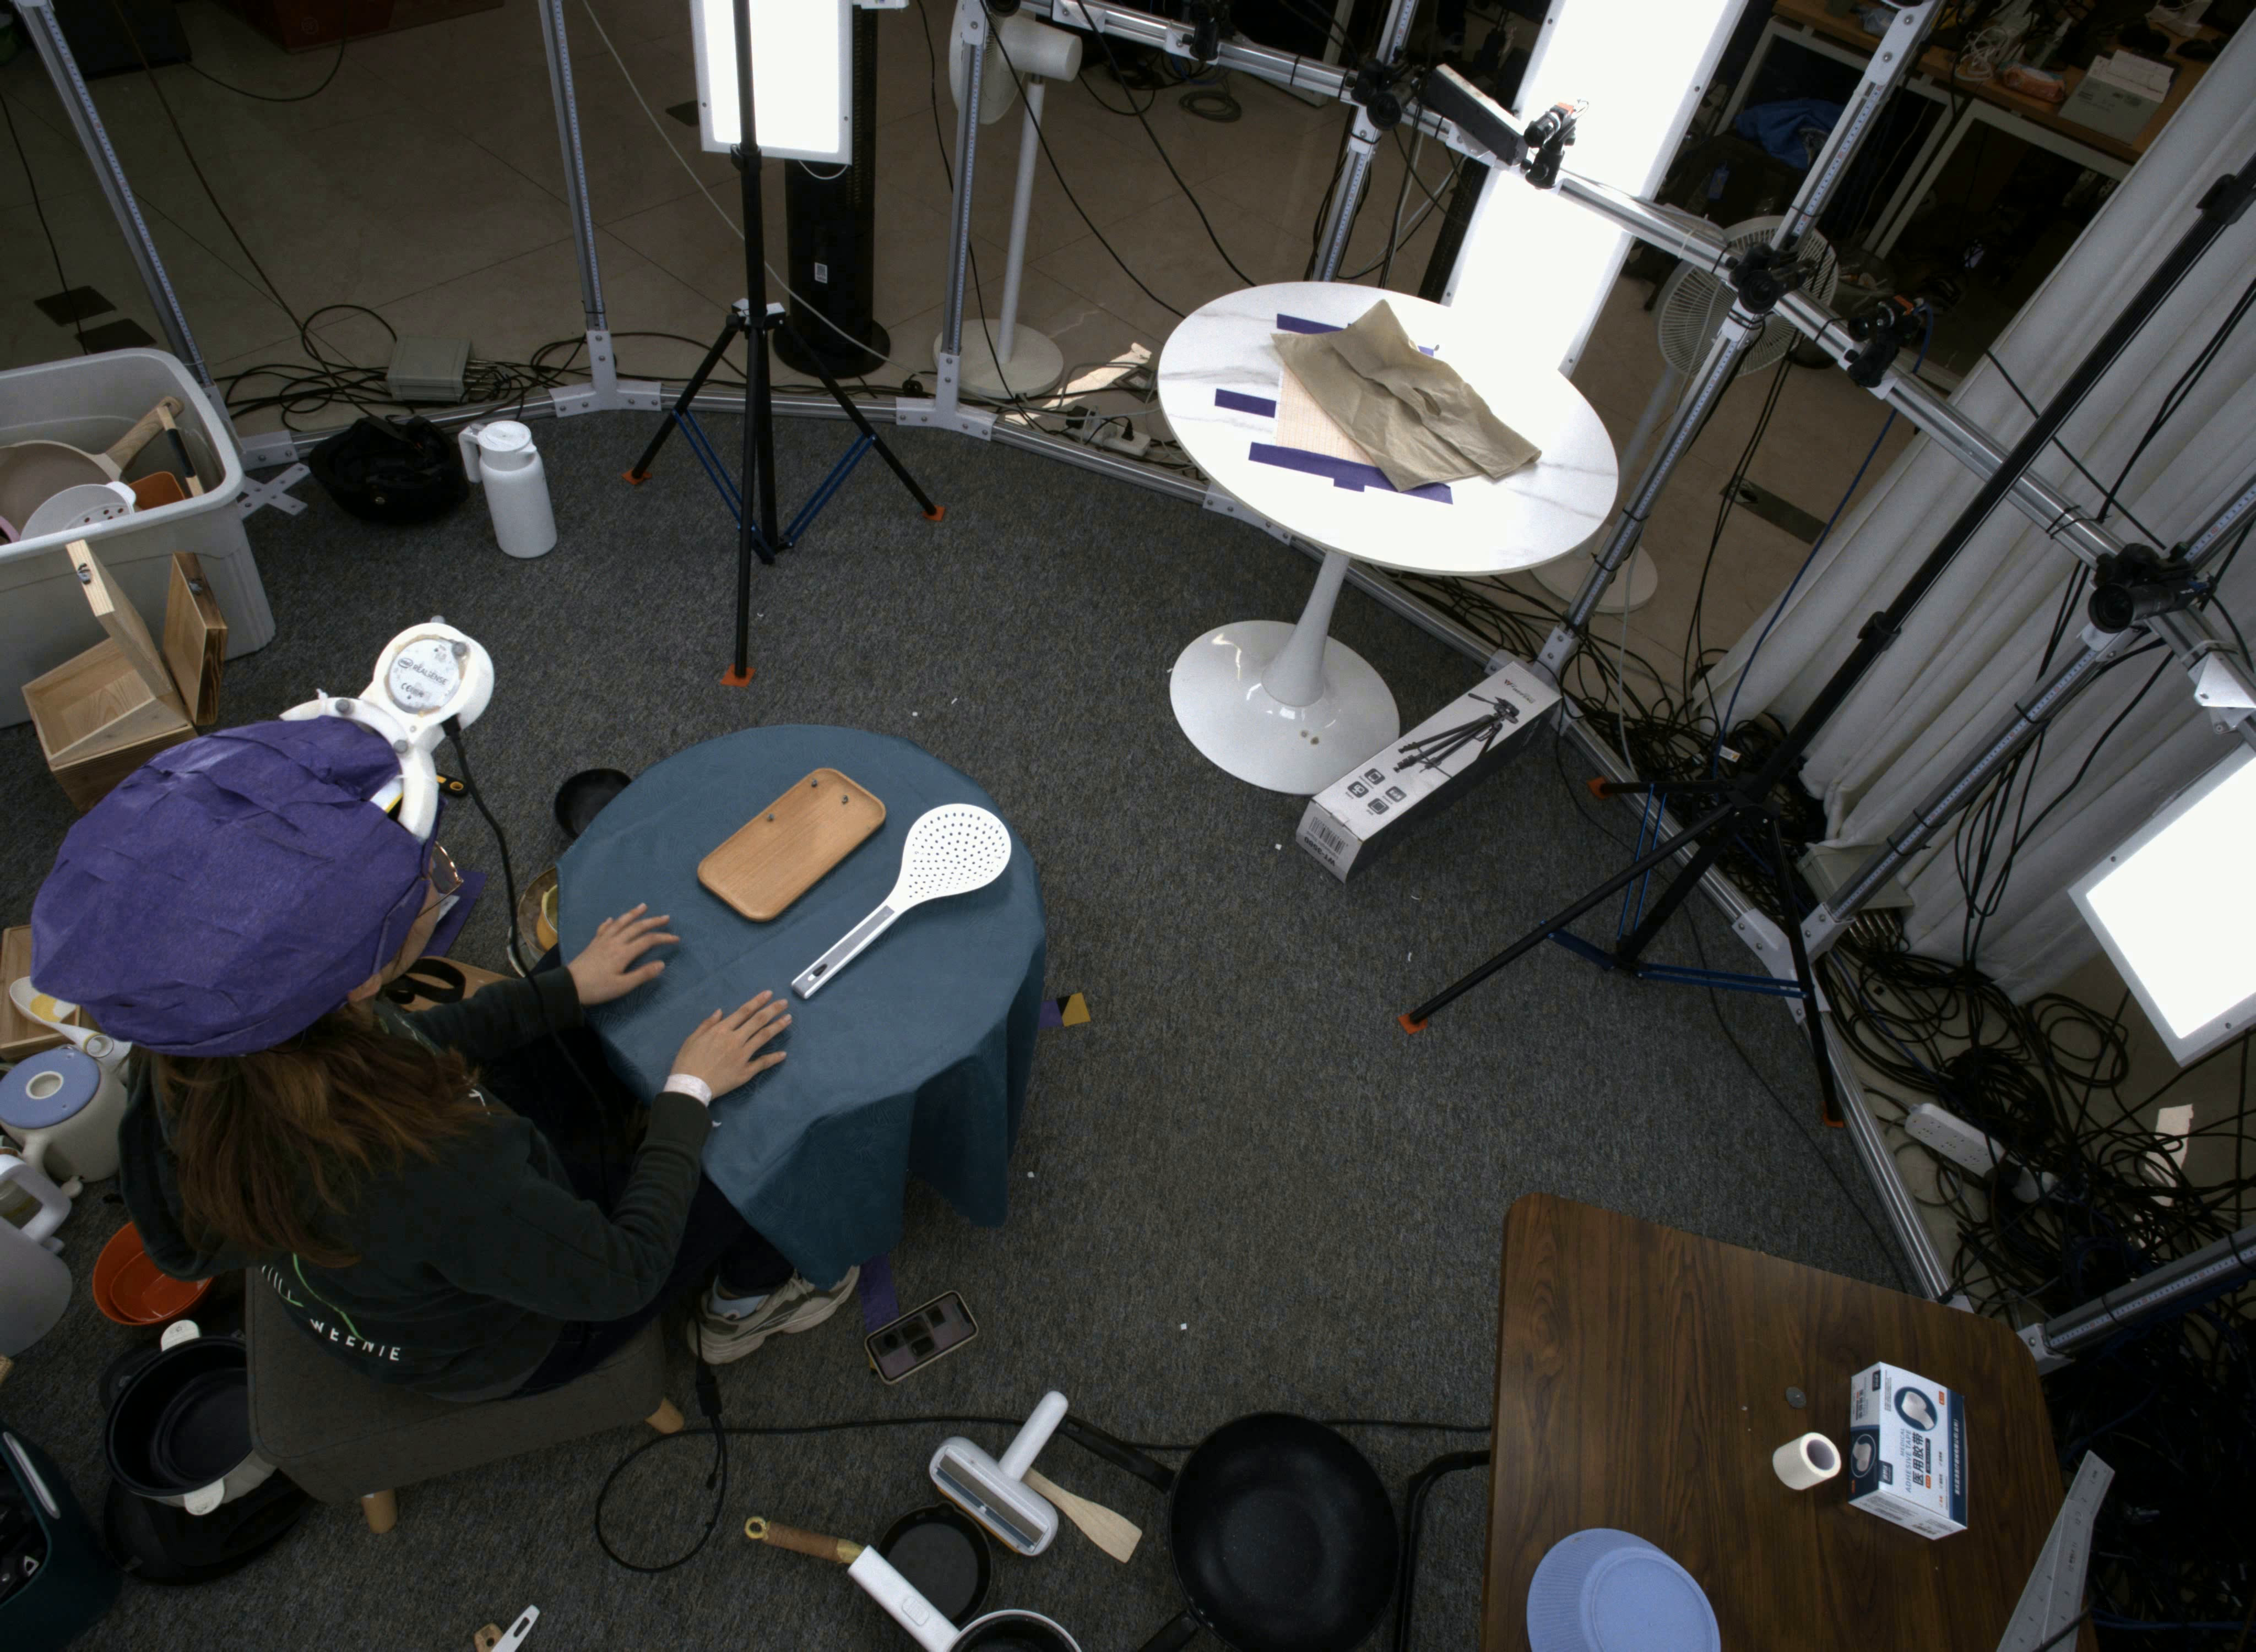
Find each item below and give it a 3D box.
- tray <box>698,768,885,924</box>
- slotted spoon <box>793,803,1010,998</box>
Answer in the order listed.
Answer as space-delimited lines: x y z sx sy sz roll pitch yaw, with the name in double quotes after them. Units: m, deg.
-0.438 0.022 1.699 0.128 0.023 0.250 34 54 14 "tray"
-0.291 0.095 1.664 0.133 0.047 0.350 36 54 16 "slotted spoon"
